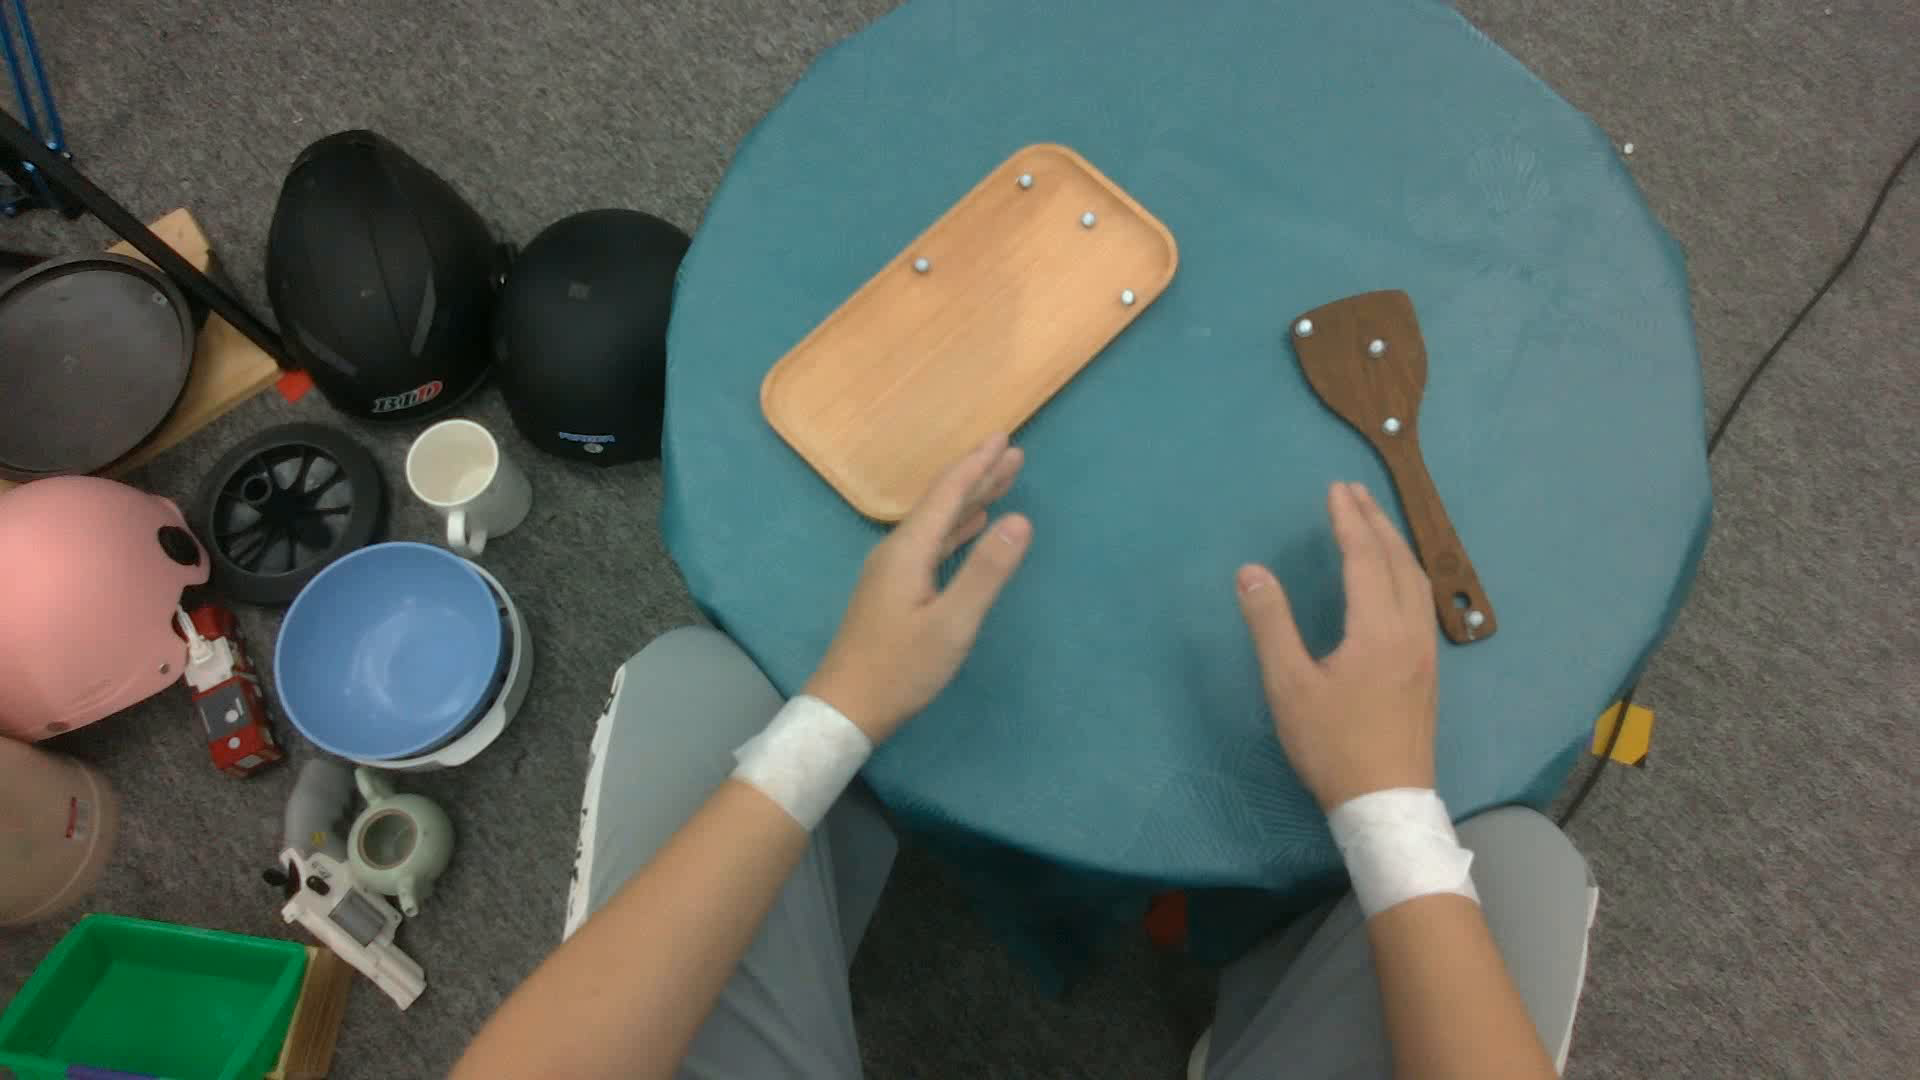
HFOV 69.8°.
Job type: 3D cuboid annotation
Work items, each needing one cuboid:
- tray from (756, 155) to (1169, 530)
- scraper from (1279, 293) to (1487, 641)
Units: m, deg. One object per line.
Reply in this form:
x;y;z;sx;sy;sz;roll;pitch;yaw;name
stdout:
0.003;-0.120;0.814;0.251;0.023;0.130;-43;72;-12;tray
0.248;-0.043;0.783;0.076;0.011;0.212;-15;71;-3;scraper
